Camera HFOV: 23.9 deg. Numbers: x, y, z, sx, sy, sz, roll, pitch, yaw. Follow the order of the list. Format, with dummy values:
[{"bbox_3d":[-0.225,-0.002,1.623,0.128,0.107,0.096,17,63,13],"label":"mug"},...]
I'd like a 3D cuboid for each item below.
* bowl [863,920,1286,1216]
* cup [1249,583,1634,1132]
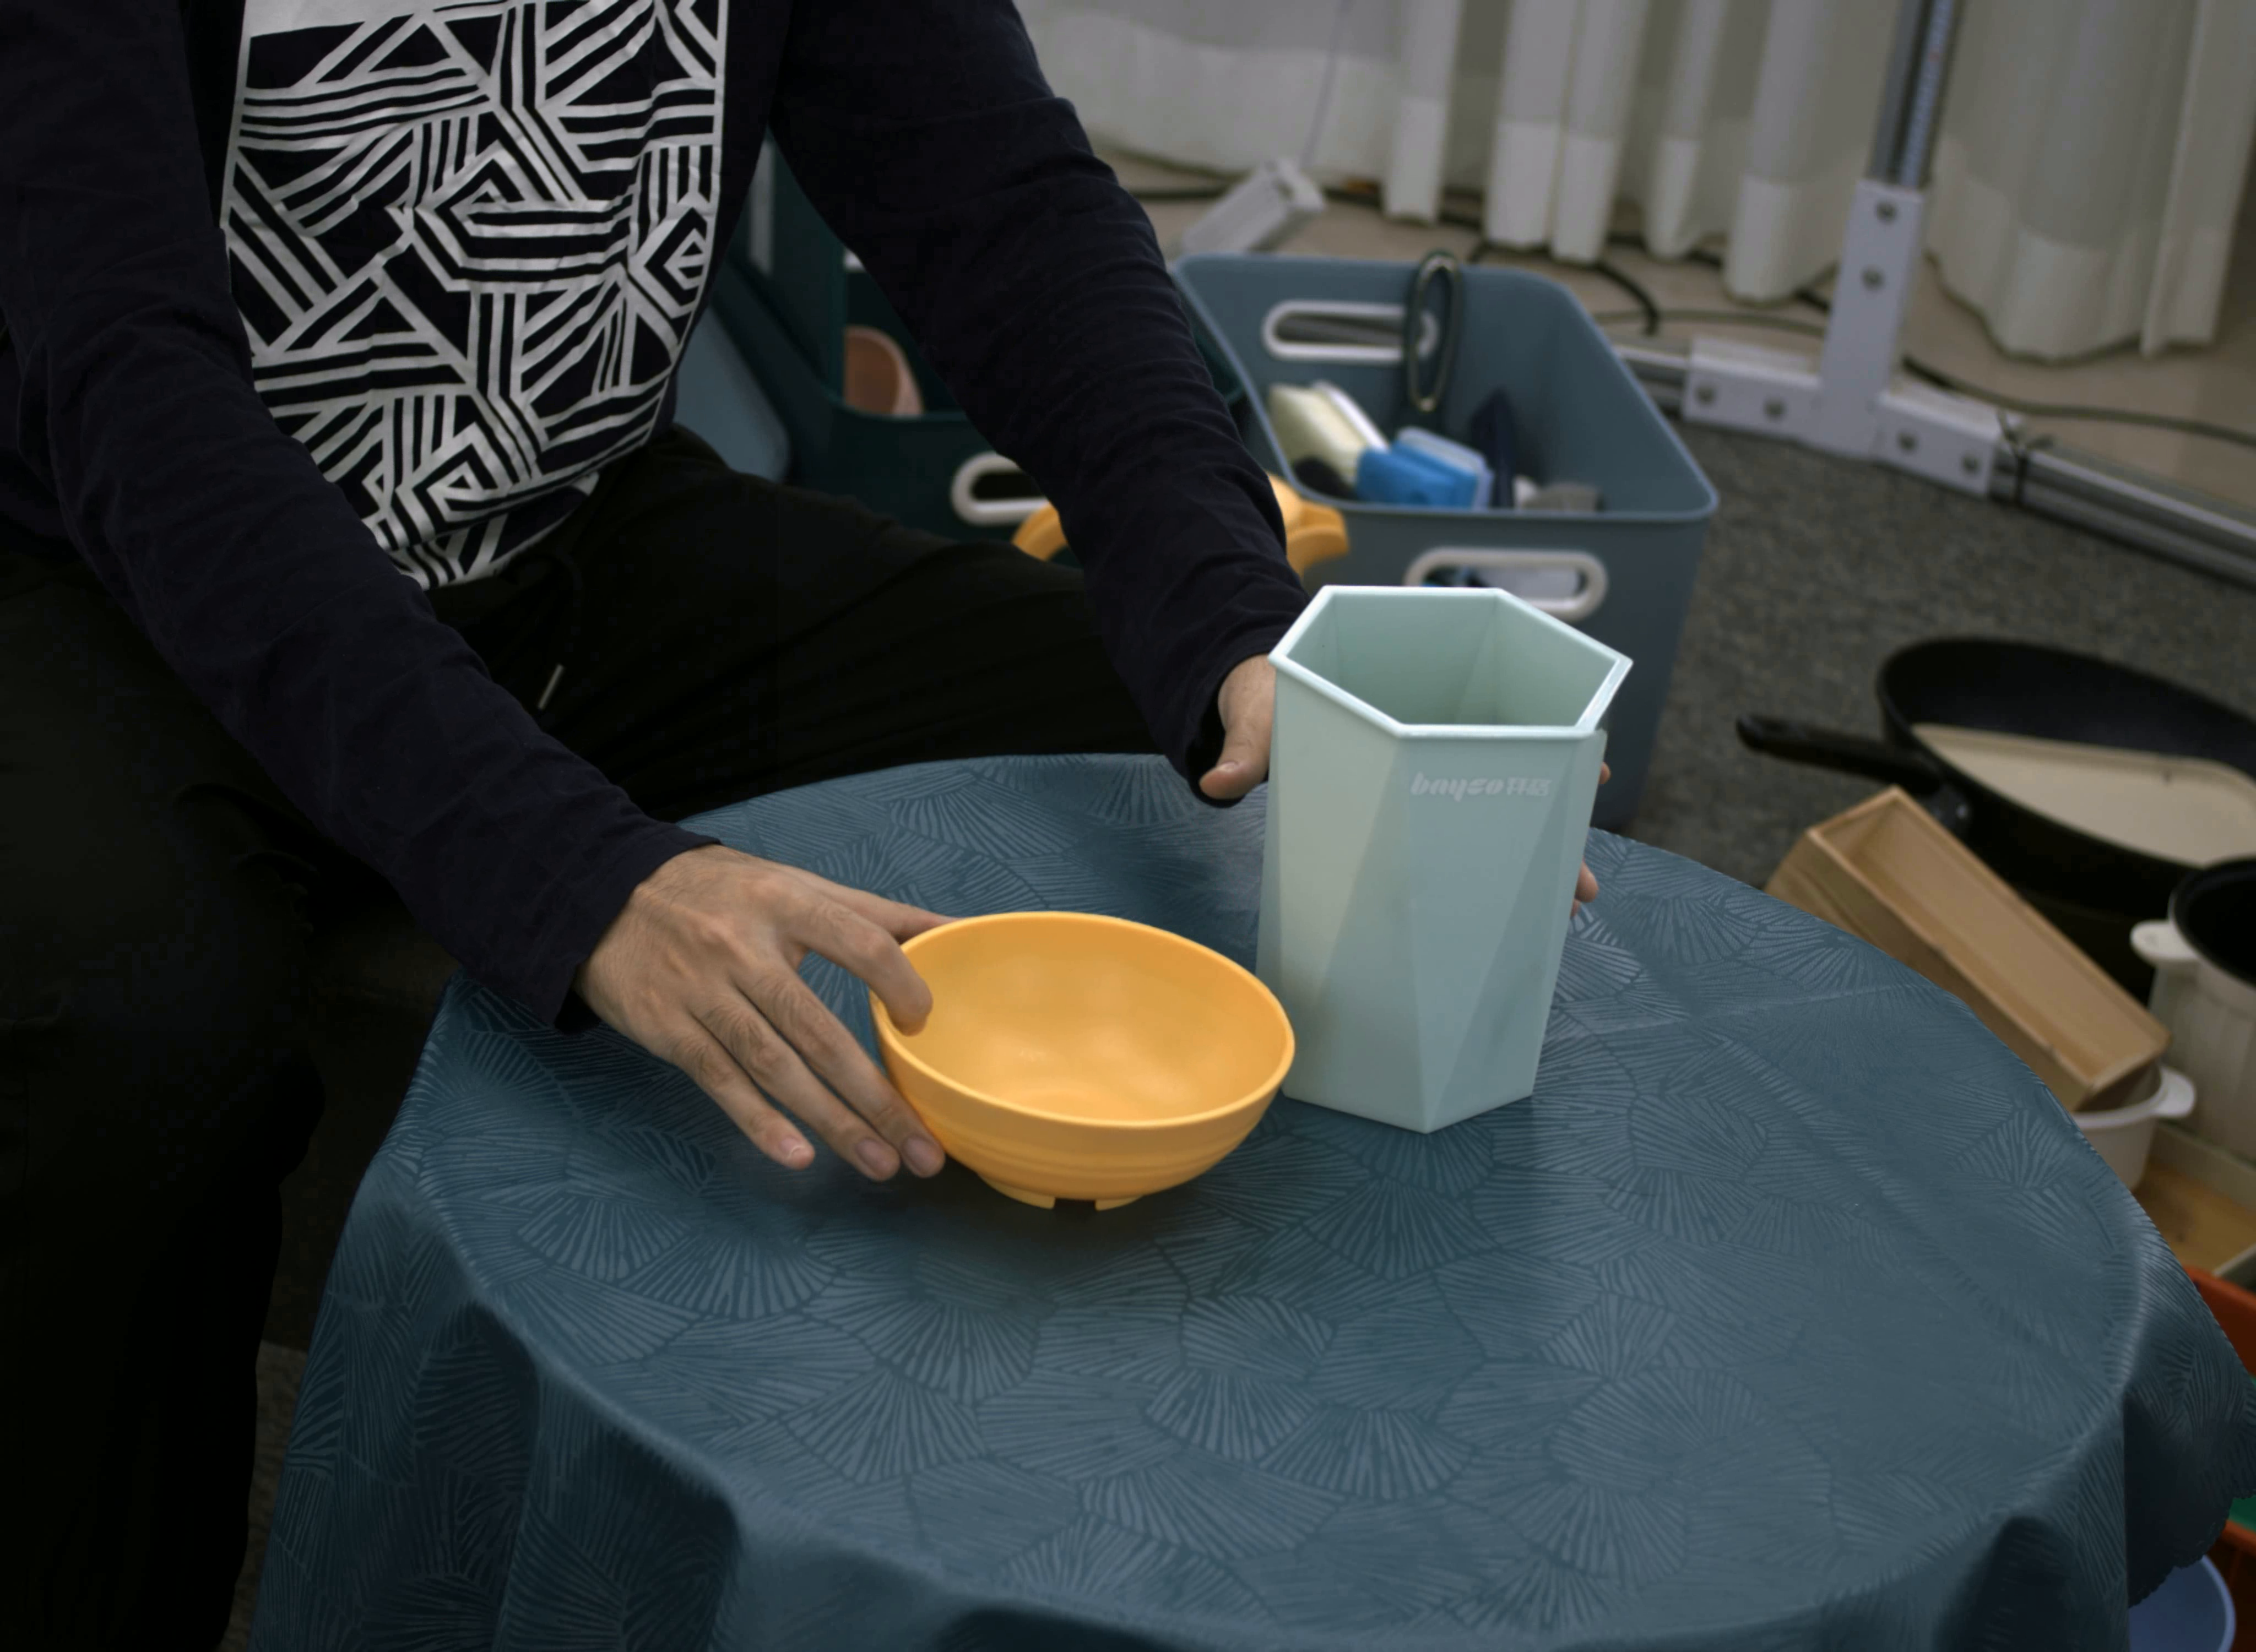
[{"bbox_3d":[-0.022,0.091,1.806,0.145,0.060,0.146,7,25,-4],"label":"bowl"},{"bbox_3d":[0.104,0.012,1.869,0.130,0.162,0.116,0,25,-15],"label":"cup"}]
